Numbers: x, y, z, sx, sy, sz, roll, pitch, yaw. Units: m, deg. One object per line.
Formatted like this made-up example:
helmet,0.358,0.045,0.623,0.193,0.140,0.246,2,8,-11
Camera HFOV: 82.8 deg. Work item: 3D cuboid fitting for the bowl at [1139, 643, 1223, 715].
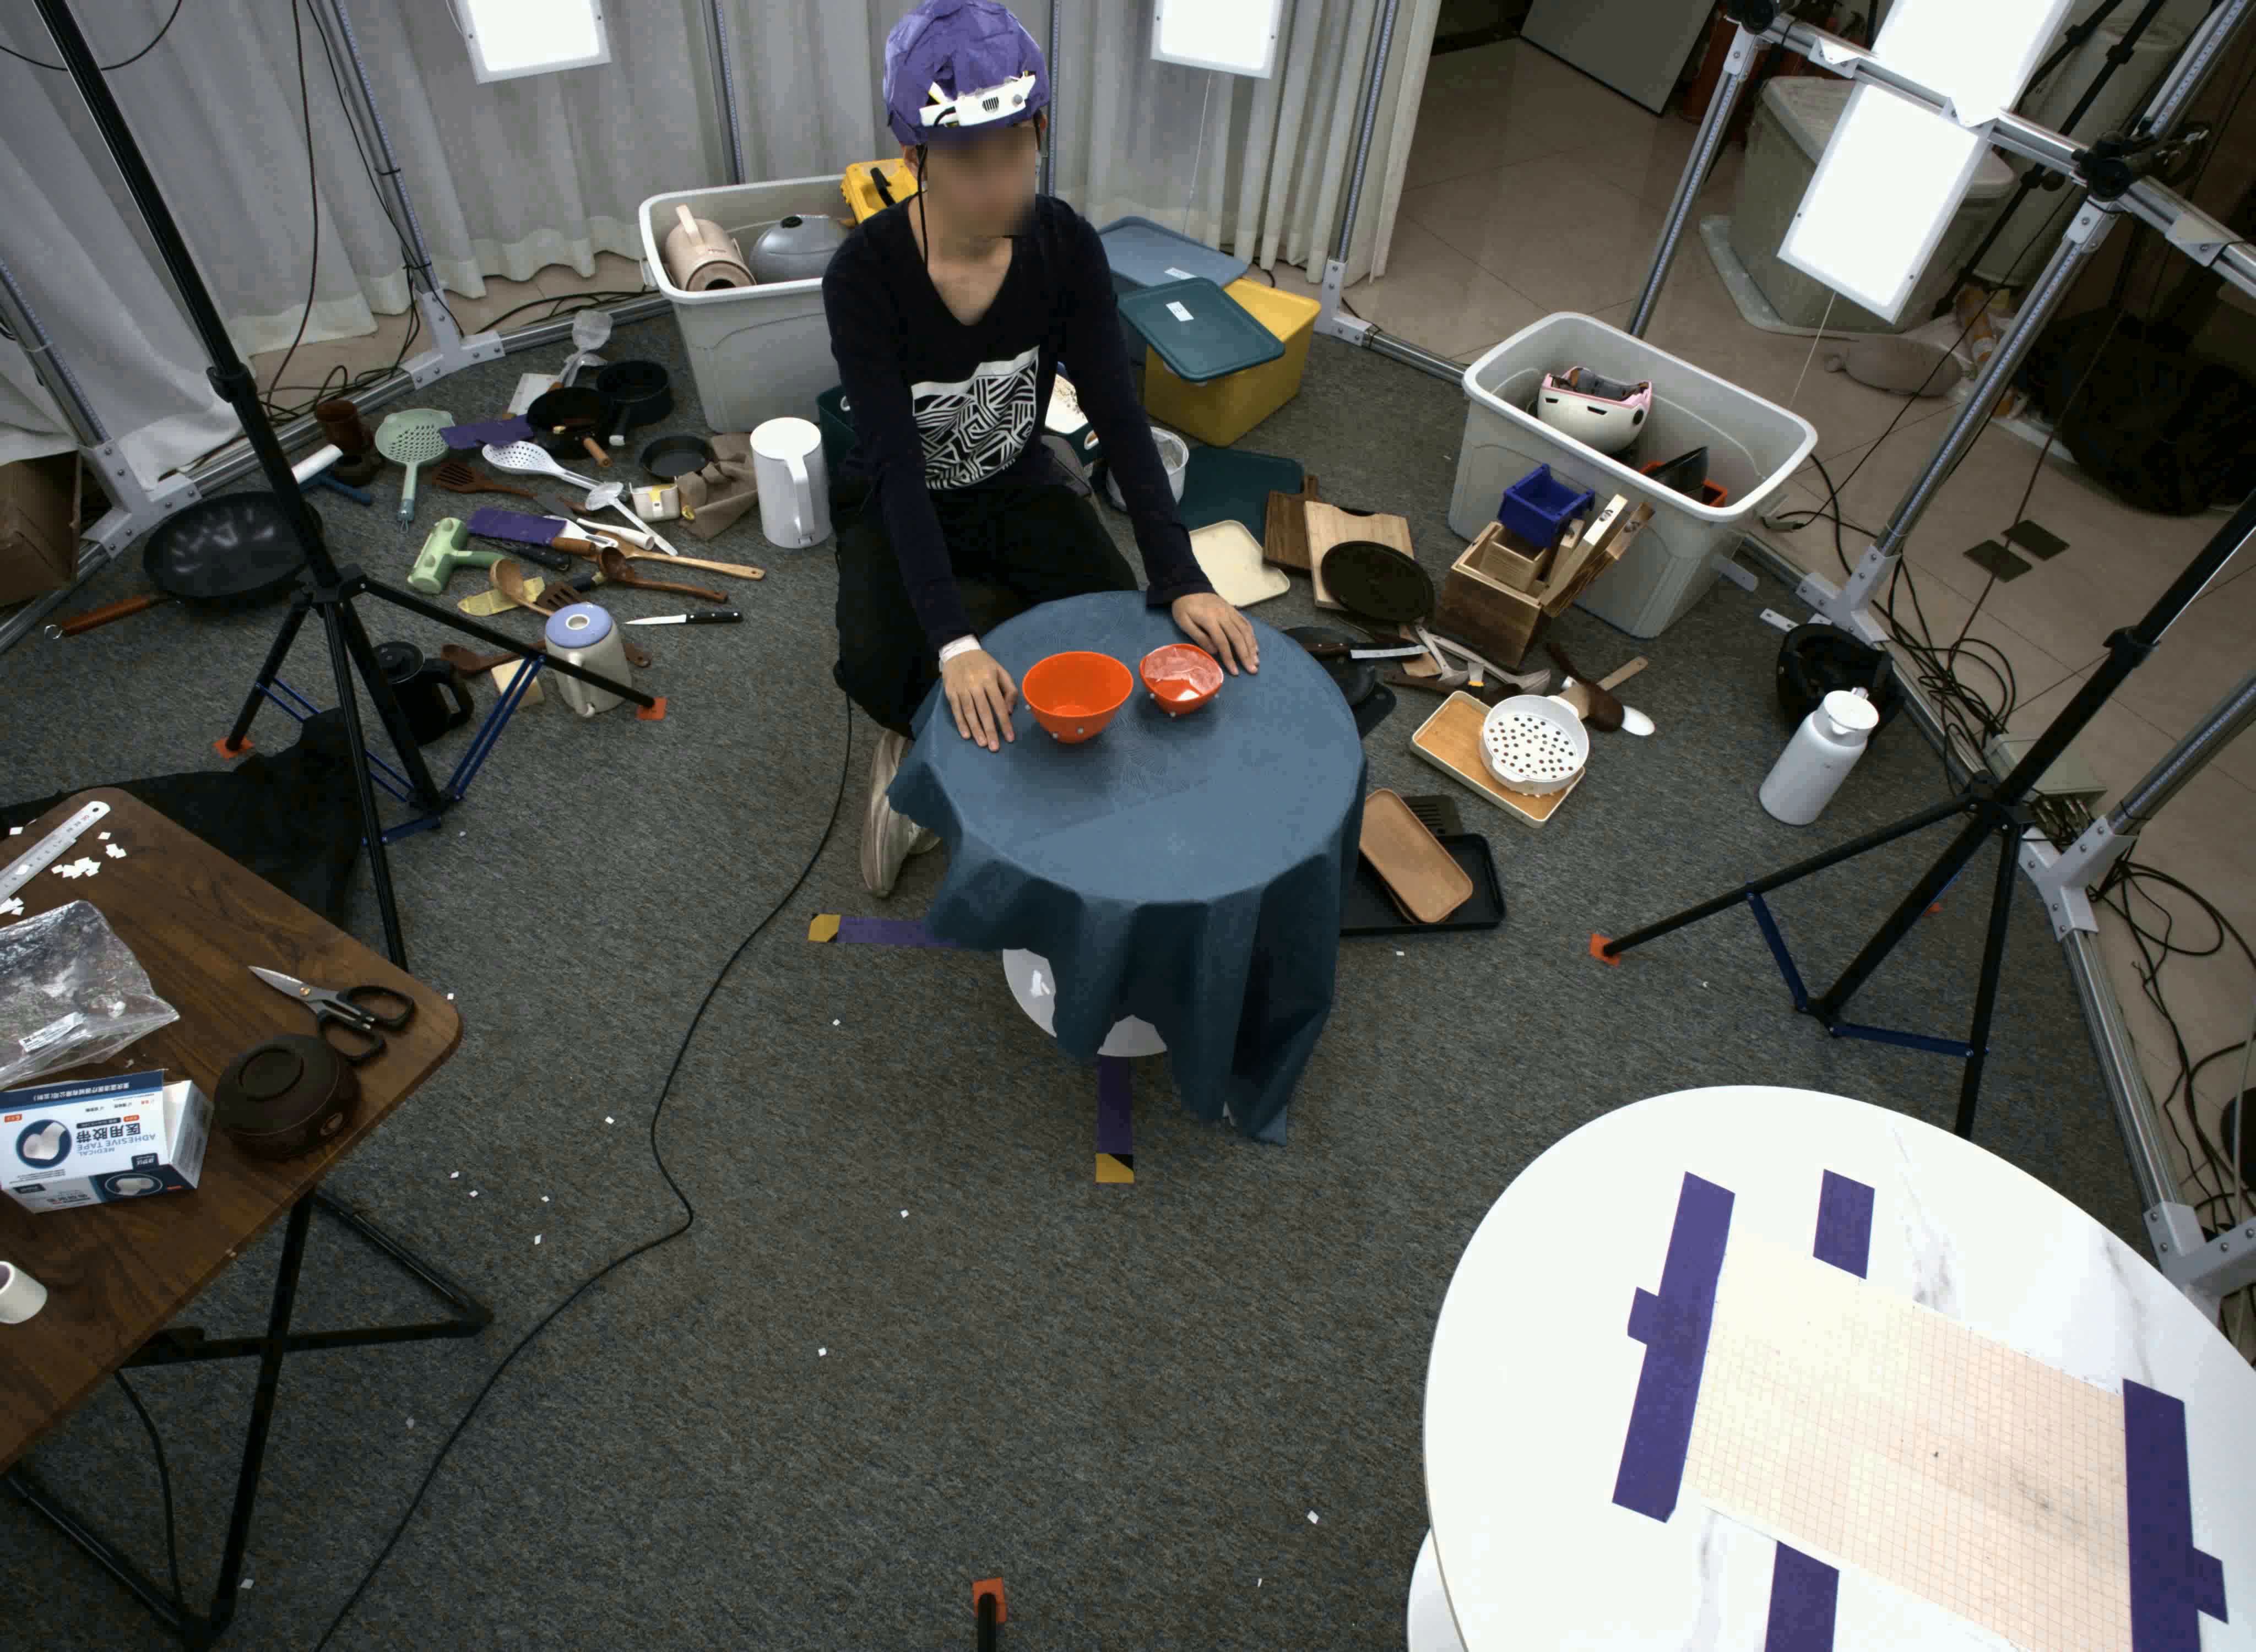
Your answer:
bowl,0.073,-0.201,1.815,0.119,0.050,0.122,1,49,-1

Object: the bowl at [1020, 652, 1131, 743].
bowl,-0.072,-0.163,1.739,0.148,0.102,0.152,2,49,-2
